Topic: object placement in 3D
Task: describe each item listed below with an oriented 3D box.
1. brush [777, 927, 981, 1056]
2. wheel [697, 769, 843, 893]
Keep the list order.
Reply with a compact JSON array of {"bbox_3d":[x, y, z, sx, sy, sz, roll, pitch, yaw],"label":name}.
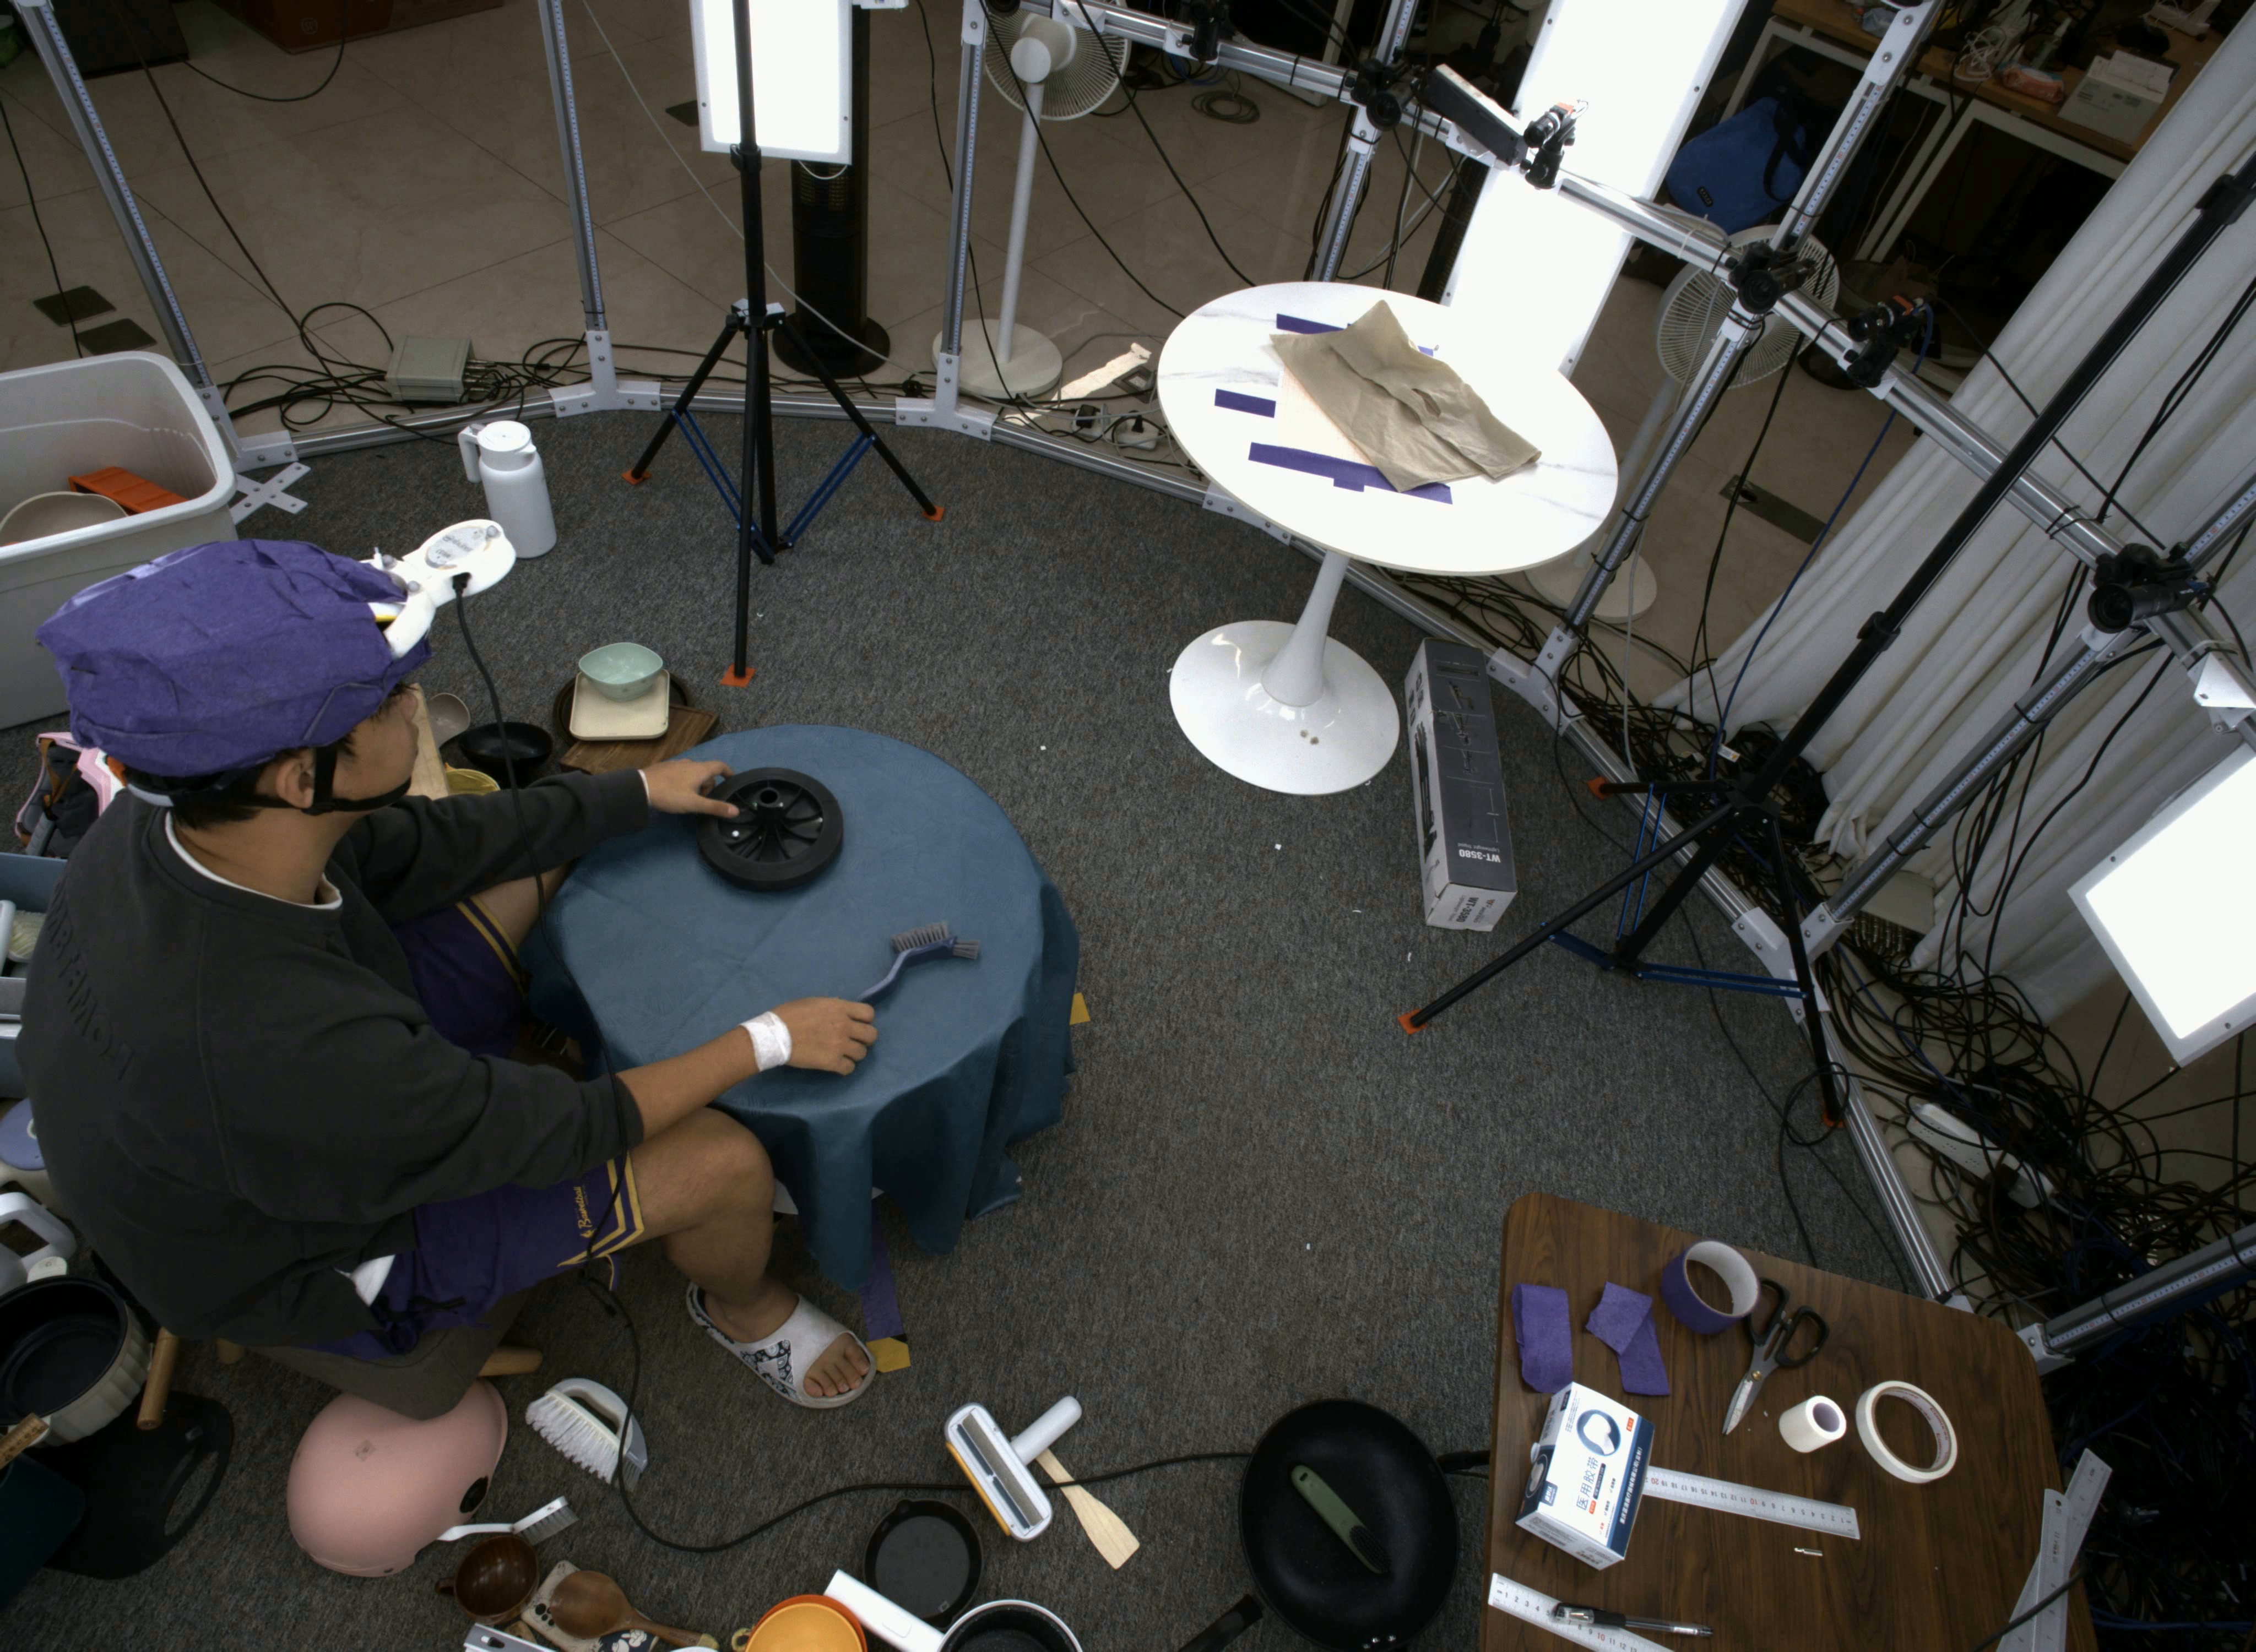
[{"bbox_3d":[-0.303,0.204,1.586,0.094,0.034,0.273,39,53,15],"label":"brush"},{"bbox_3d":[-0.465,-0.011,1.677,0.187,0.080,0.187,10,53,-7],"label":"wheel"}]
